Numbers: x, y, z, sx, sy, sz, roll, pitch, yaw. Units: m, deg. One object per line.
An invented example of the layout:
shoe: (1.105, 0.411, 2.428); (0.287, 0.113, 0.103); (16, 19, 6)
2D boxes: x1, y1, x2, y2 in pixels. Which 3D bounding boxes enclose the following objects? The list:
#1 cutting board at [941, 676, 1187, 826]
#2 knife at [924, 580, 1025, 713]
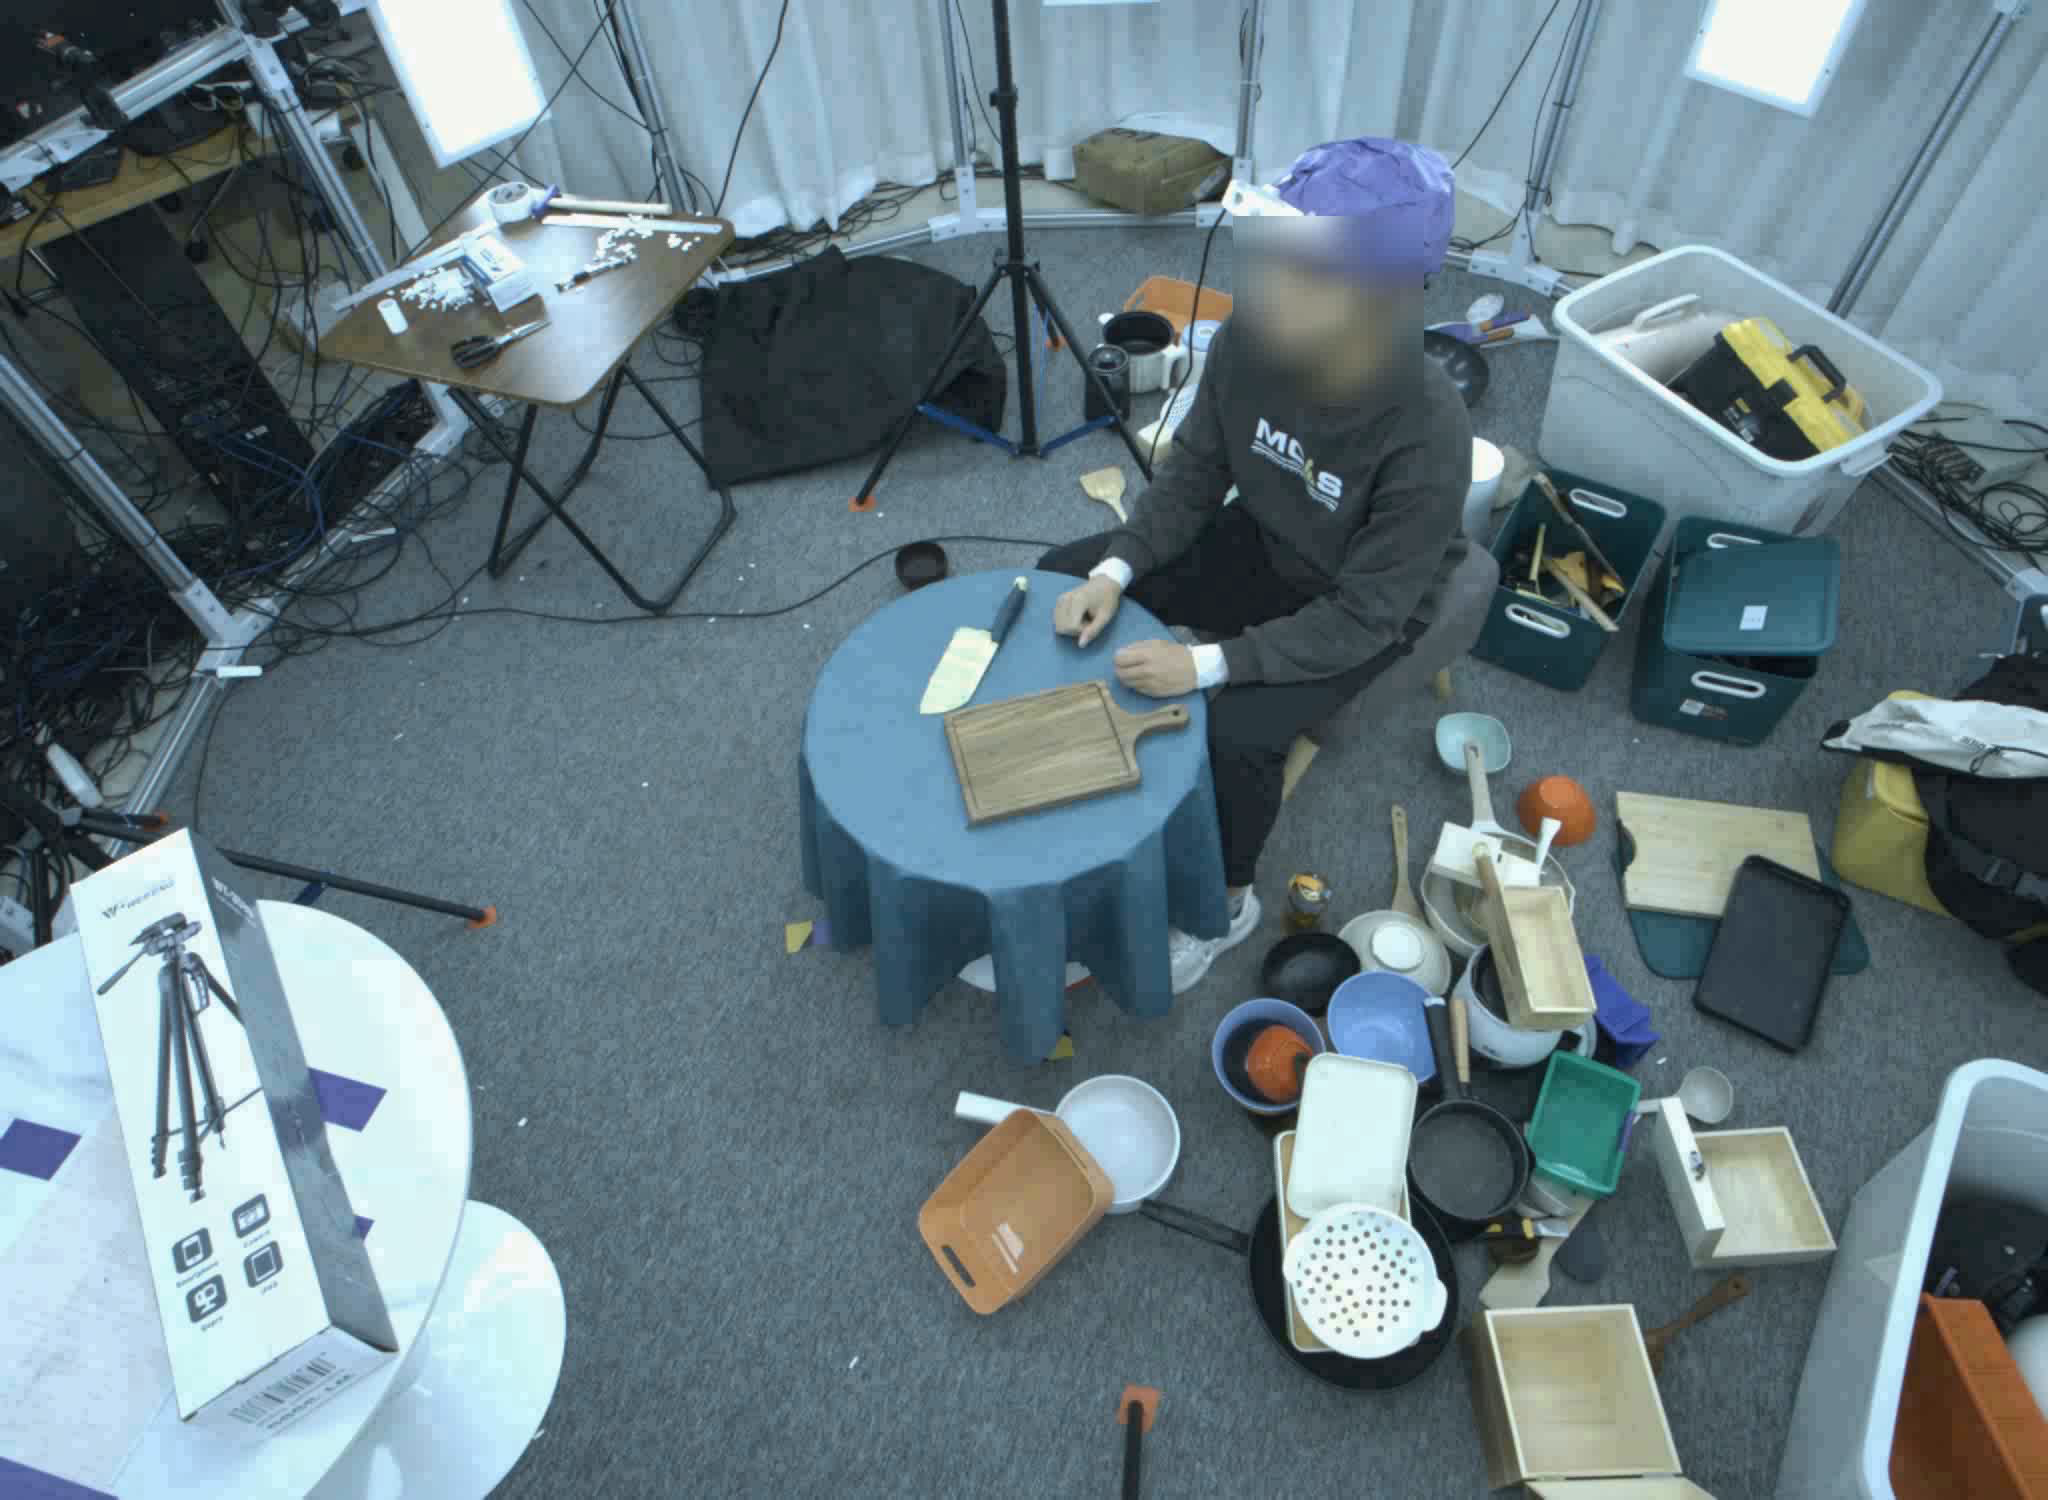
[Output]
cutting board: (0.070, -0.014, 1.790); (0.354, 0.023, 0.198); (-14, 56, -8)
knife: (-0.075, -0.164, 1.905); (0.080, 0.027, 0.290); (21, 59, 14)
